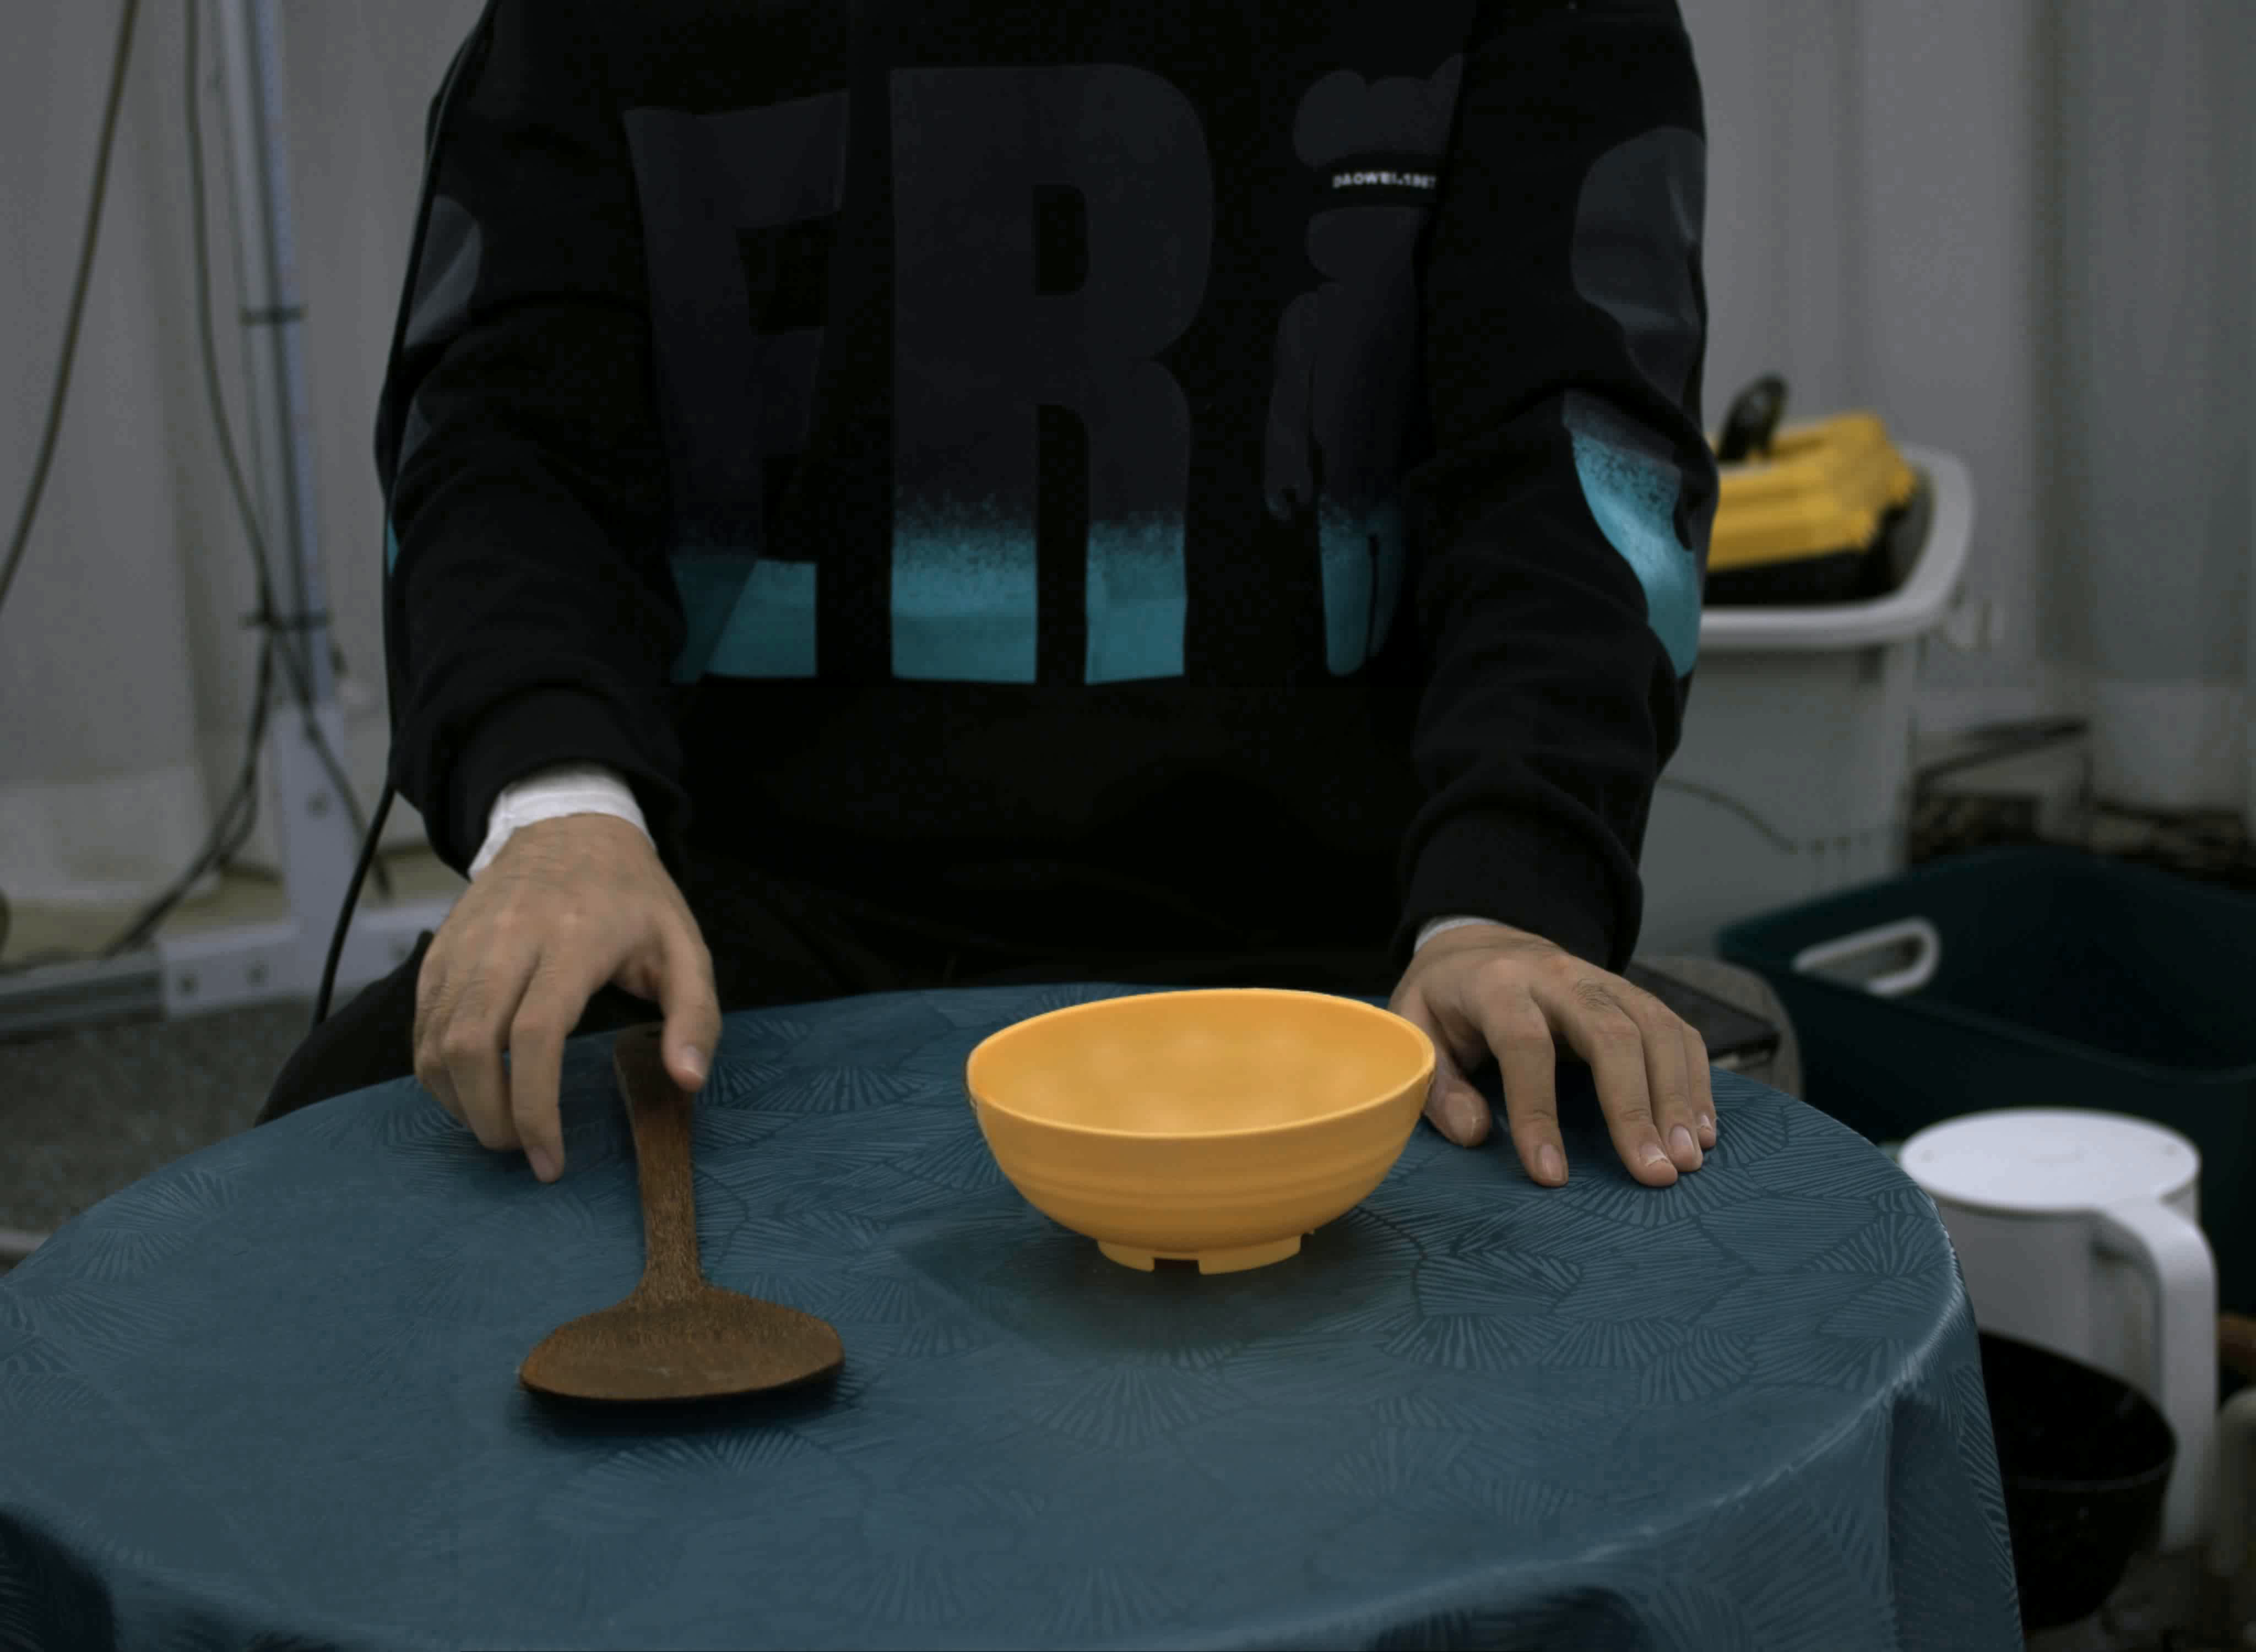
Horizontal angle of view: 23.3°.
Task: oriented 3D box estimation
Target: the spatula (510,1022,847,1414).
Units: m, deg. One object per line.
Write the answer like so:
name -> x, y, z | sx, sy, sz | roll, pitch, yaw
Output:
spatula -> -0.145, 0.116, 1.710 | 0.096, 0.016, 0.389 | -4, 15, -5

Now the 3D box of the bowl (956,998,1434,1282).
bowl -> 0.020, 0.101, 1.660 | 0.145, 0.060, 0.146 | 0, 14, 0
